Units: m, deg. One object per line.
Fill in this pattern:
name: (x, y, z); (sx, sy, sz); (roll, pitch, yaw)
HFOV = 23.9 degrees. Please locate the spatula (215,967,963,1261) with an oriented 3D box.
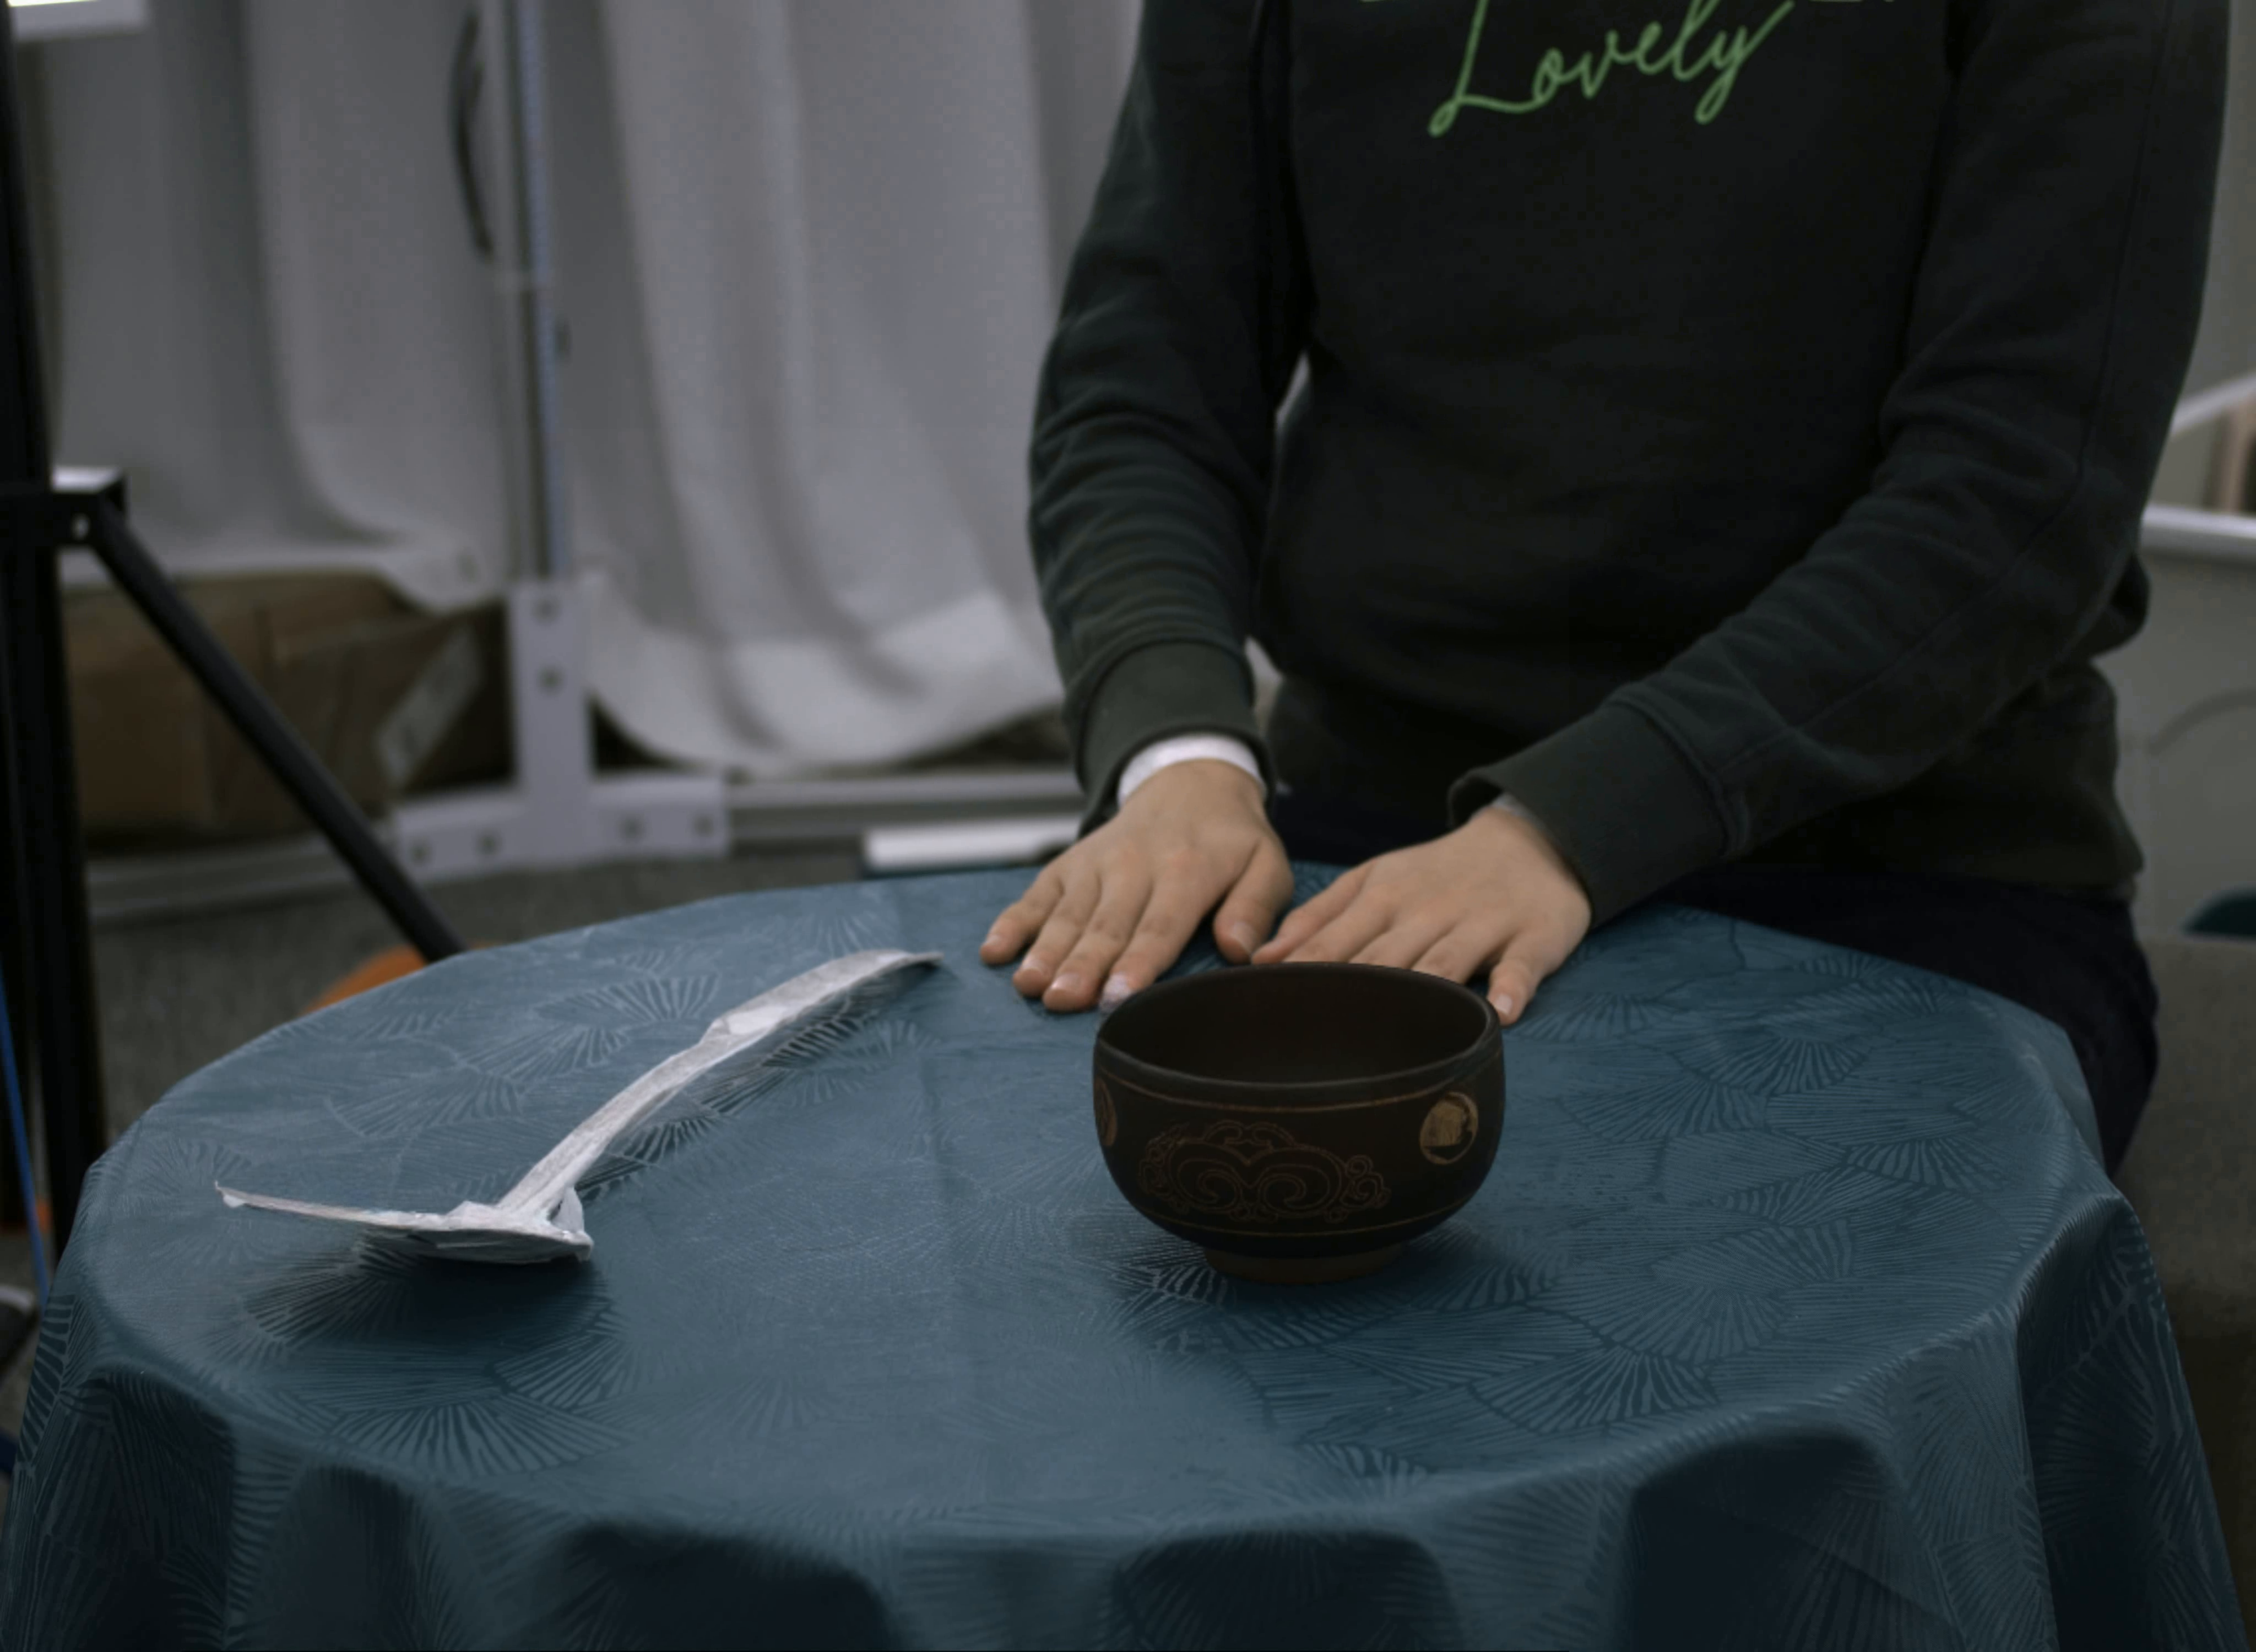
spatula: (-0.142, 0.077, 1.618); (0.100, 0.045, 0.359); (3, 17, 25)

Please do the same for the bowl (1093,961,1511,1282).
bowl: (0.049, 0.087, 1.494); (0.117, 0.070, 0.118); (-1, 15, -1)
